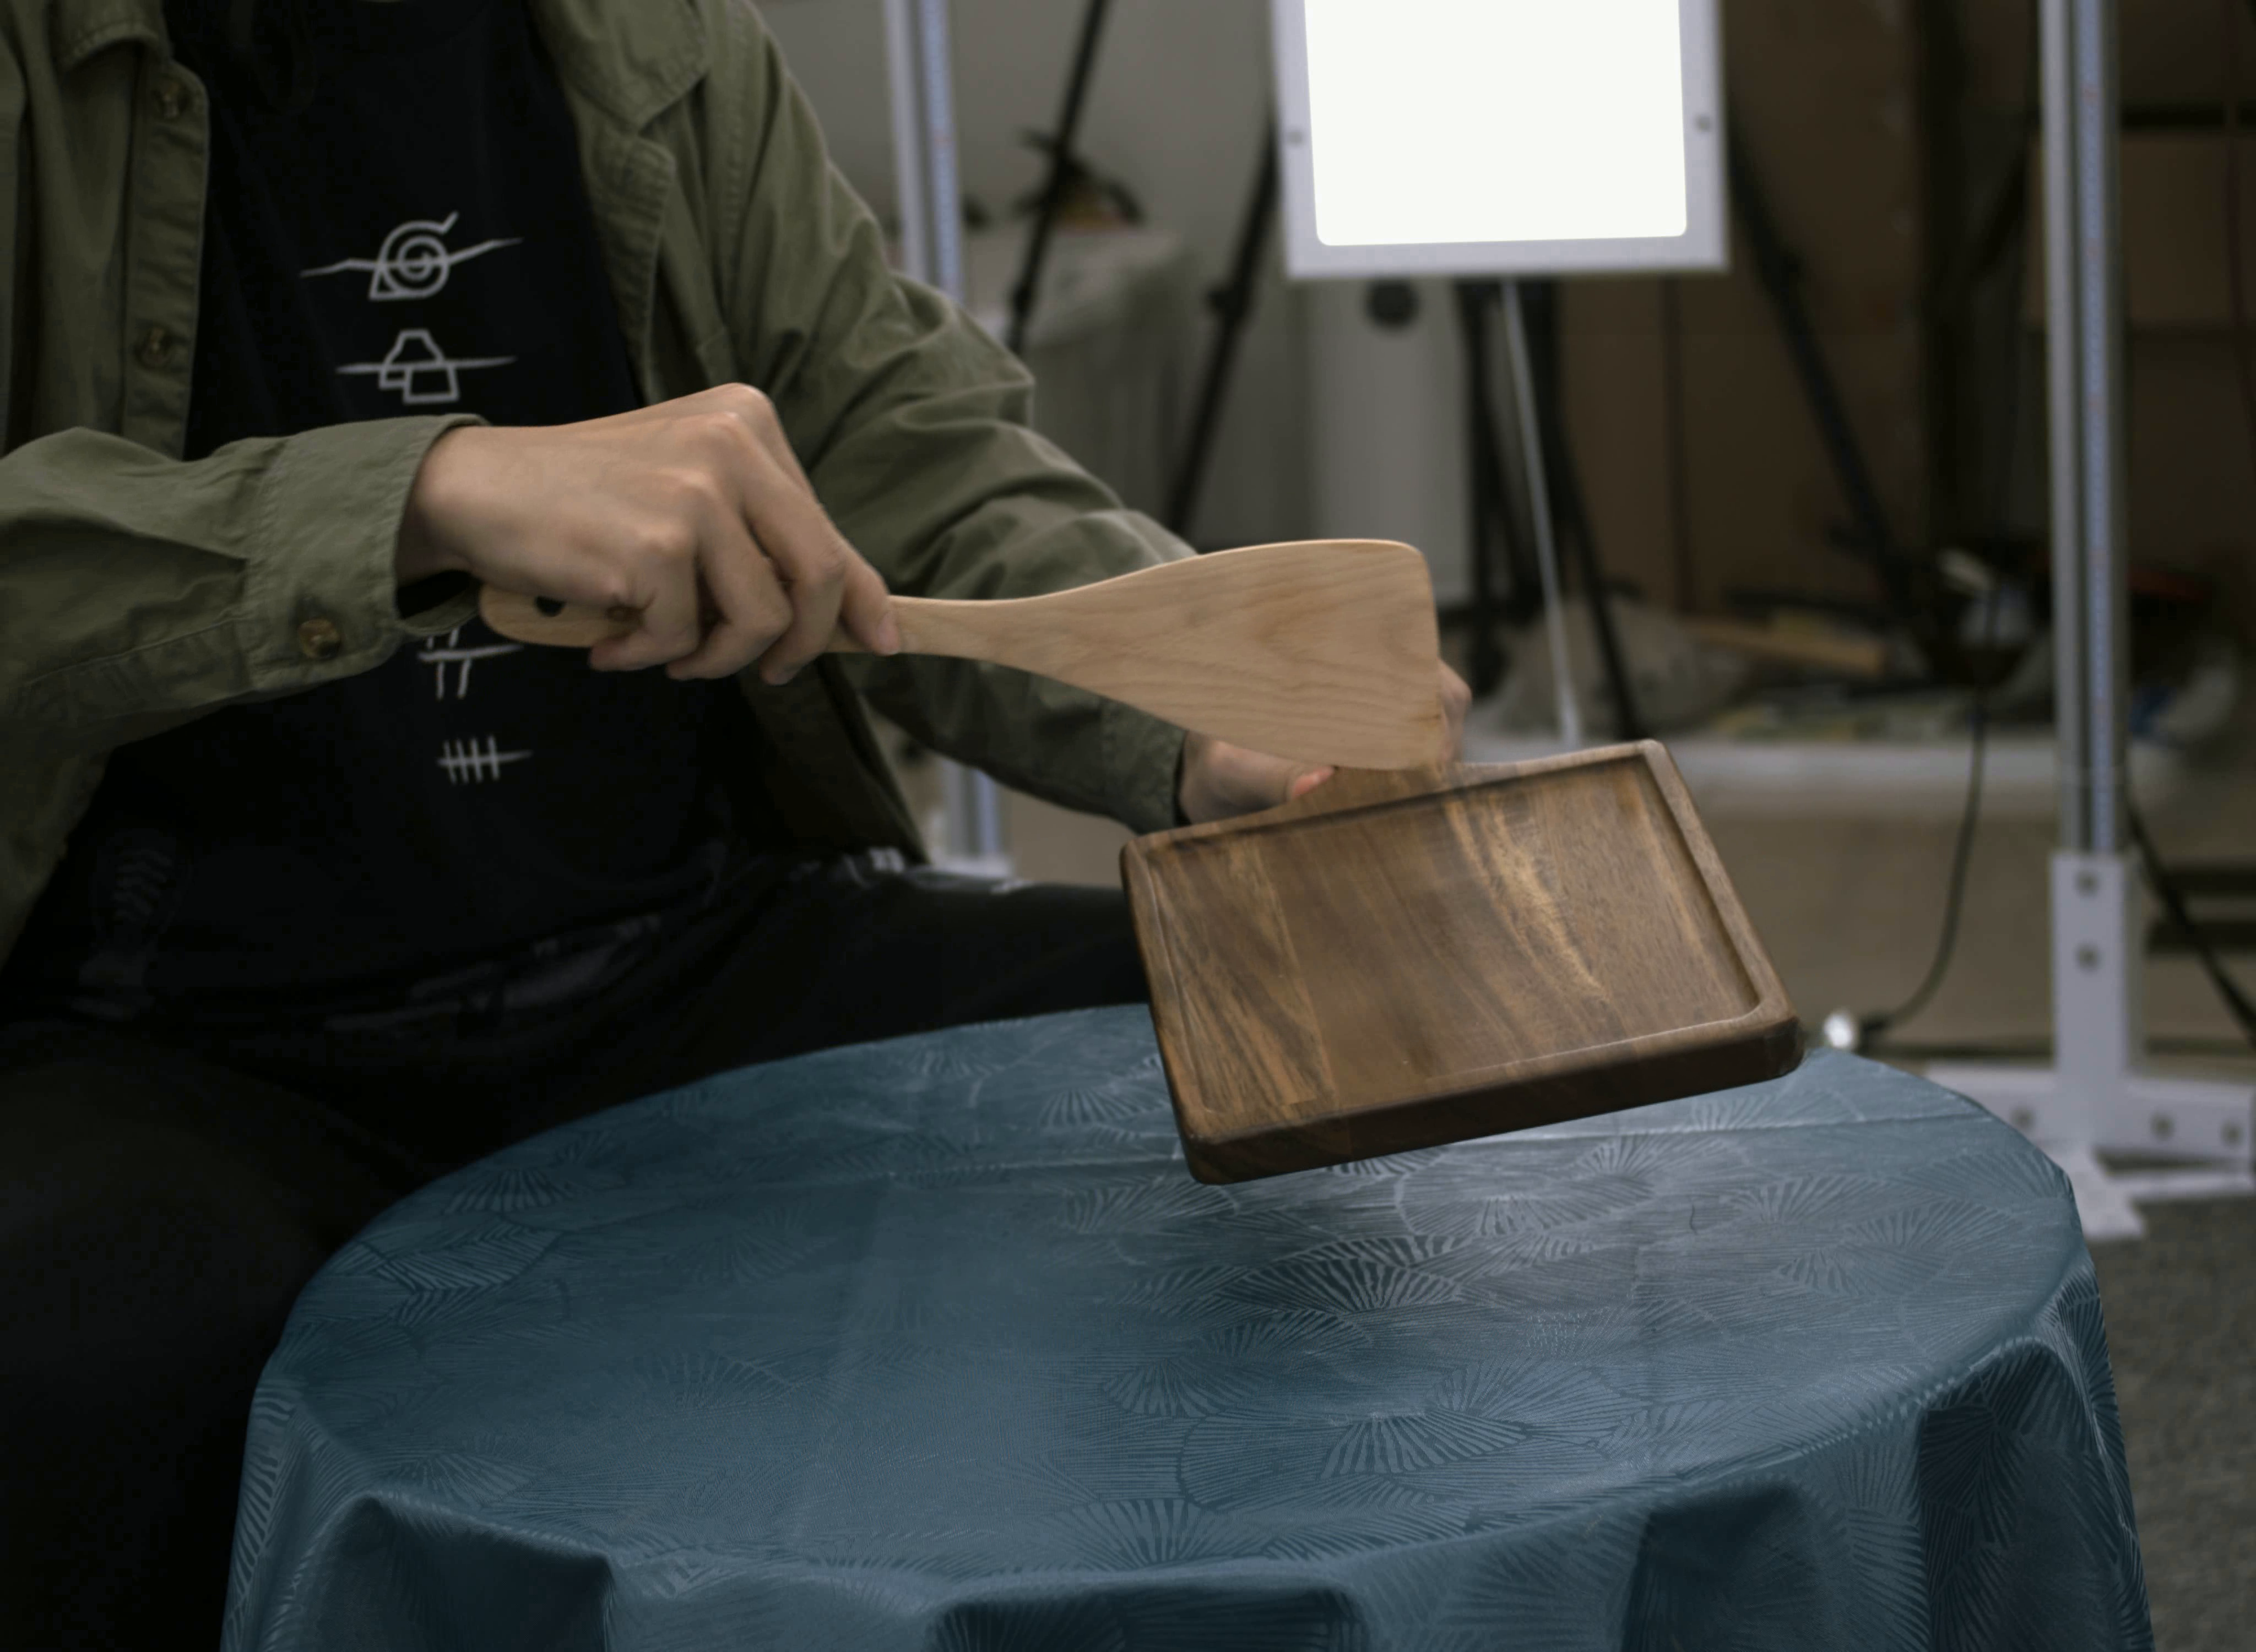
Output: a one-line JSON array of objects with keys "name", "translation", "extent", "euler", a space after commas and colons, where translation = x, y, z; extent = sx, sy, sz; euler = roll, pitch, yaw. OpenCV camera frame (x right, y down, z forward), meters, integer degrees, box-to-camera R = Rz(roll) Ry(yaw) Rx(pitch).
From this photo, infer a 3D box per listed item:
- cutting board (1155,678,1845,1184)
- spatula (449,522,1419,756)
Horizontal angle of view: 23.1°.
[{"name": "cutting board", "translation": [0.113, 0.020, 1.853], "extent": [0.201, 0.023, 0.352], "euler": [-11, 22, 1]}, {"name": "spatula", "translation": [-0.061, -0.068, 1.827], "extent": [0.324, 0.080, 0.016], "euler": [2, 15, -8]}]
